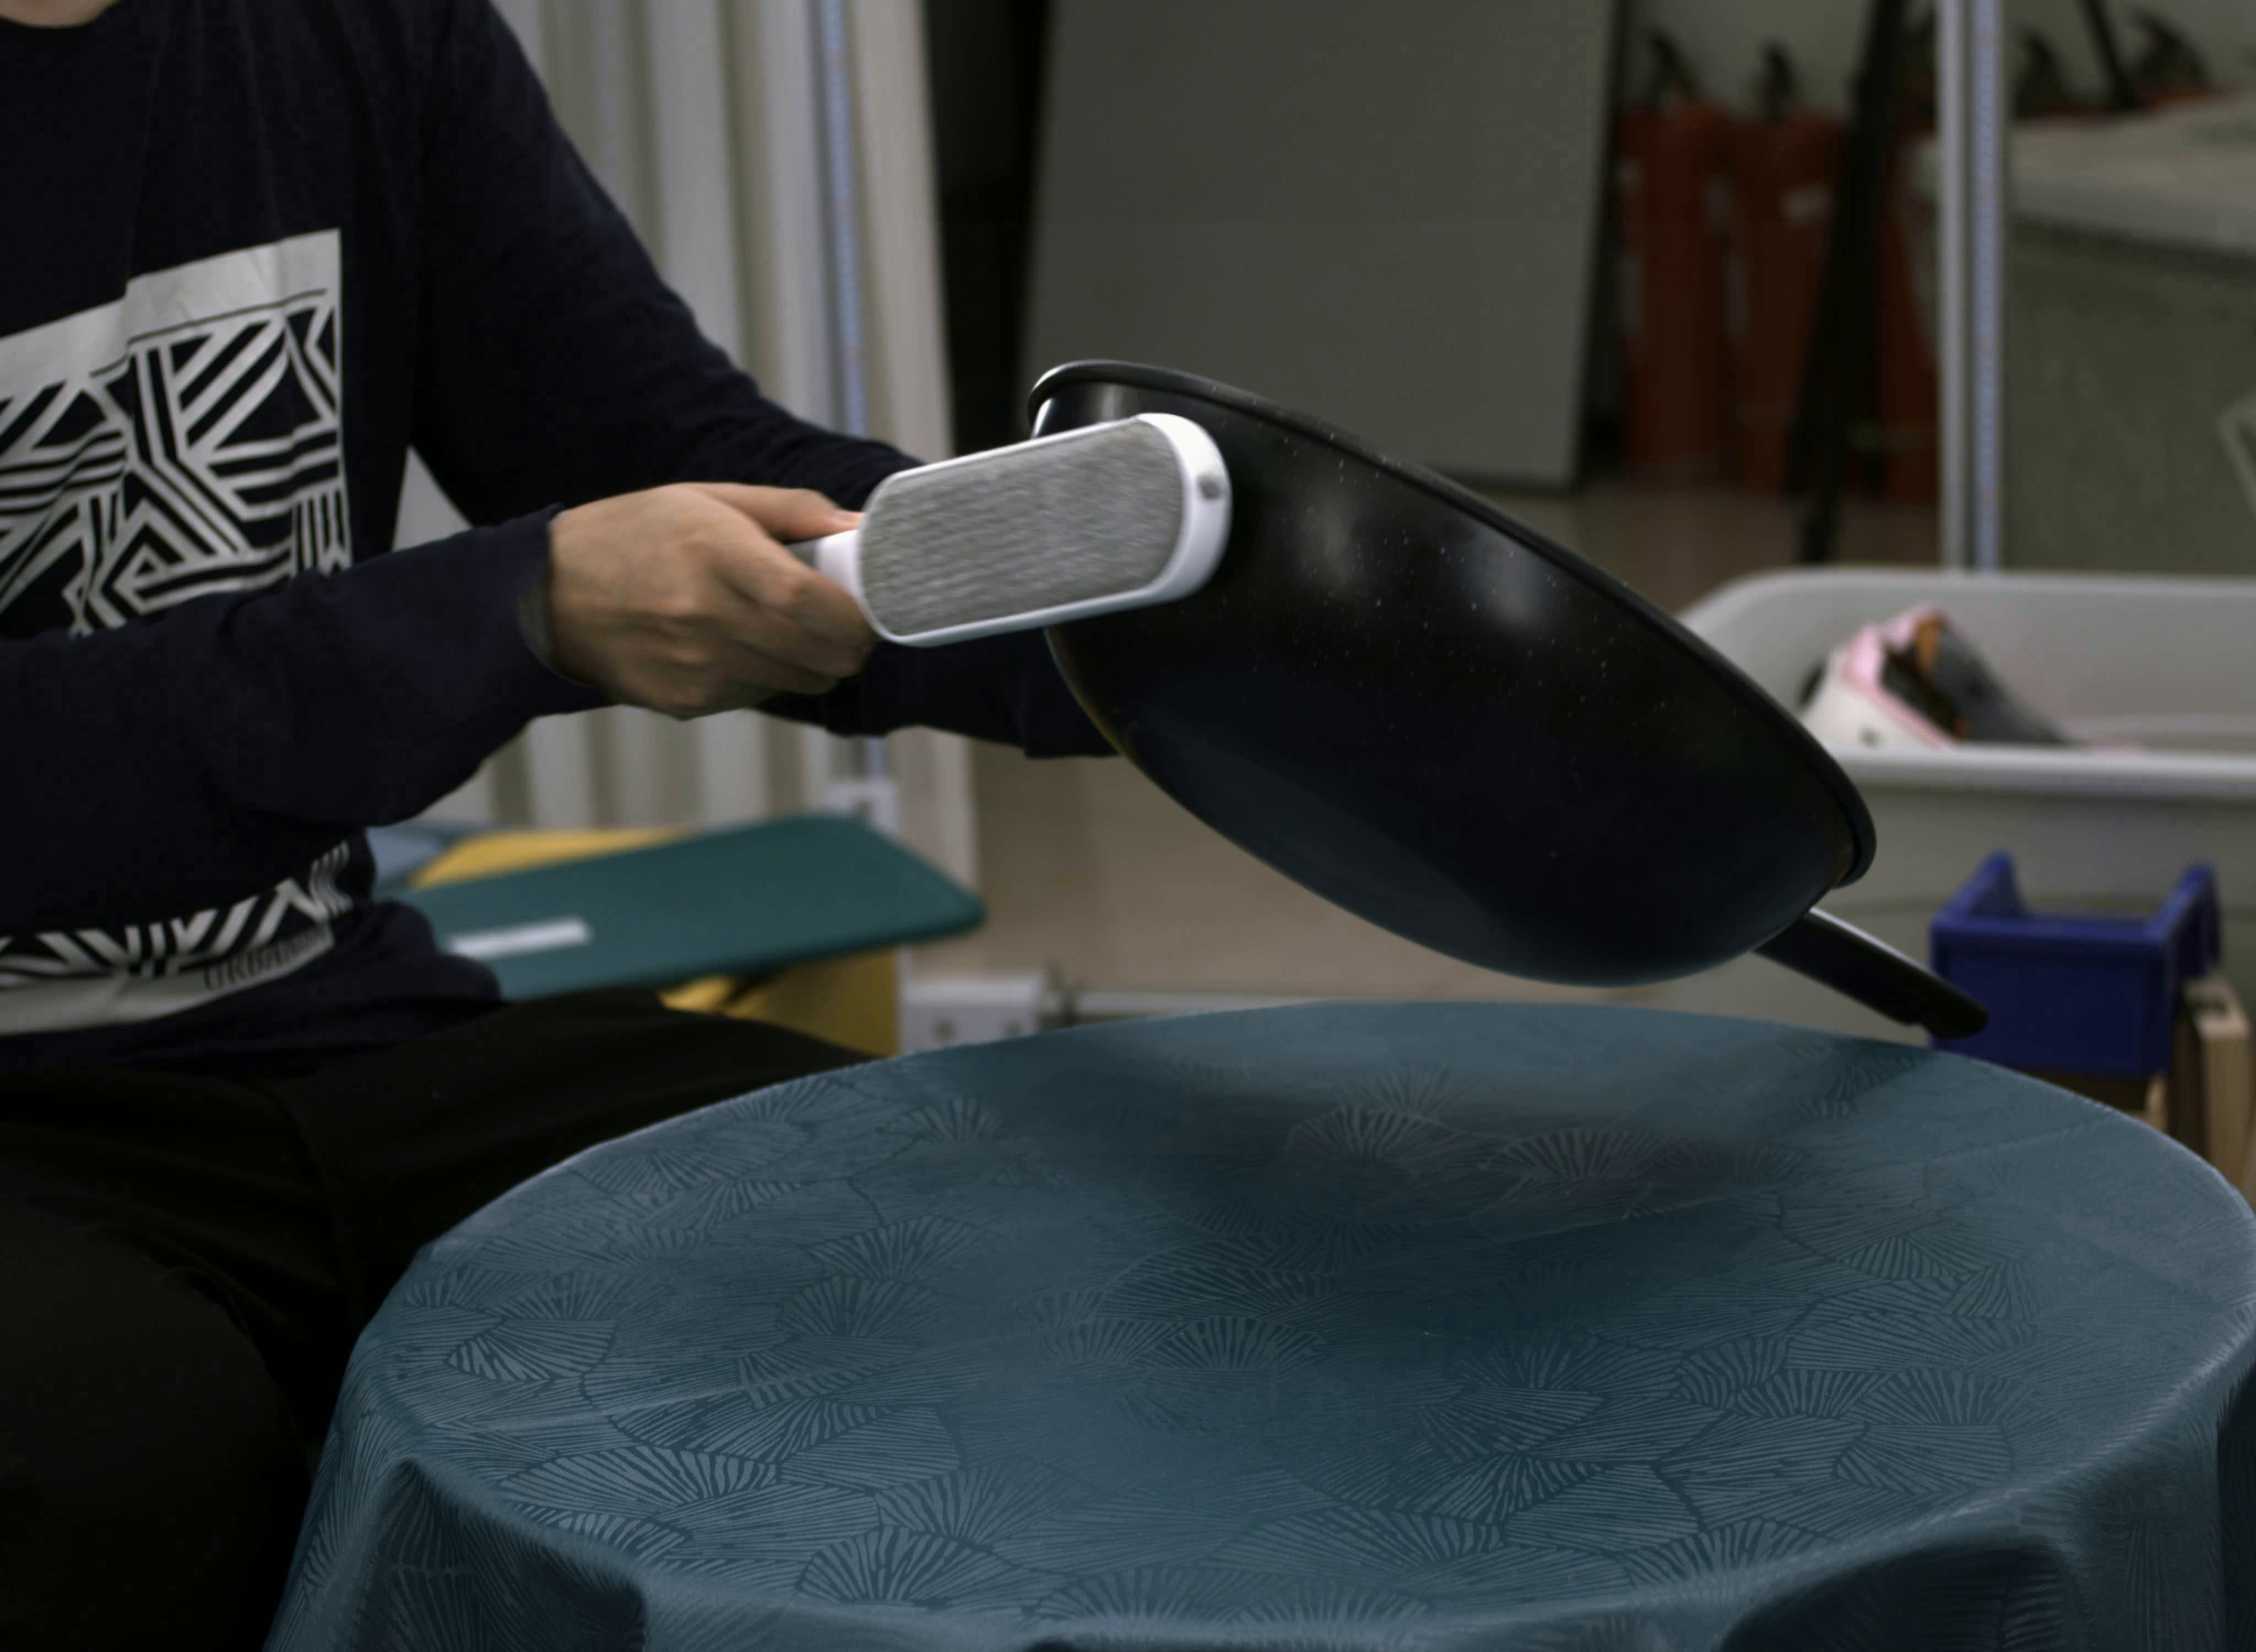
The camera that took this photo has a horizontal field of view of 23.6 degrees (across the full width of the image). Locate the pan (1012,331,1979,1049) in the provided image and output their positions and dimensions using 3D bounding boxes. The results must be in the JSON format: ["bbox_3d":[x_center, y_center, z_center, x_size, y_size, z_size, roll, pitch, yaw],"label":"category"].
[{"bbox_3d":[0.131,-0.001,1.759,0.313,0.112,0.470,20,-15,49],"label":"pan"}]

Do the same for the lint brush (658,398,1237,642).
[{"bbox_3d":[-0.063,-0.088,1.694,0.020,0.061,0.312,-6,-2,-36],"label":"lint brush"}]
